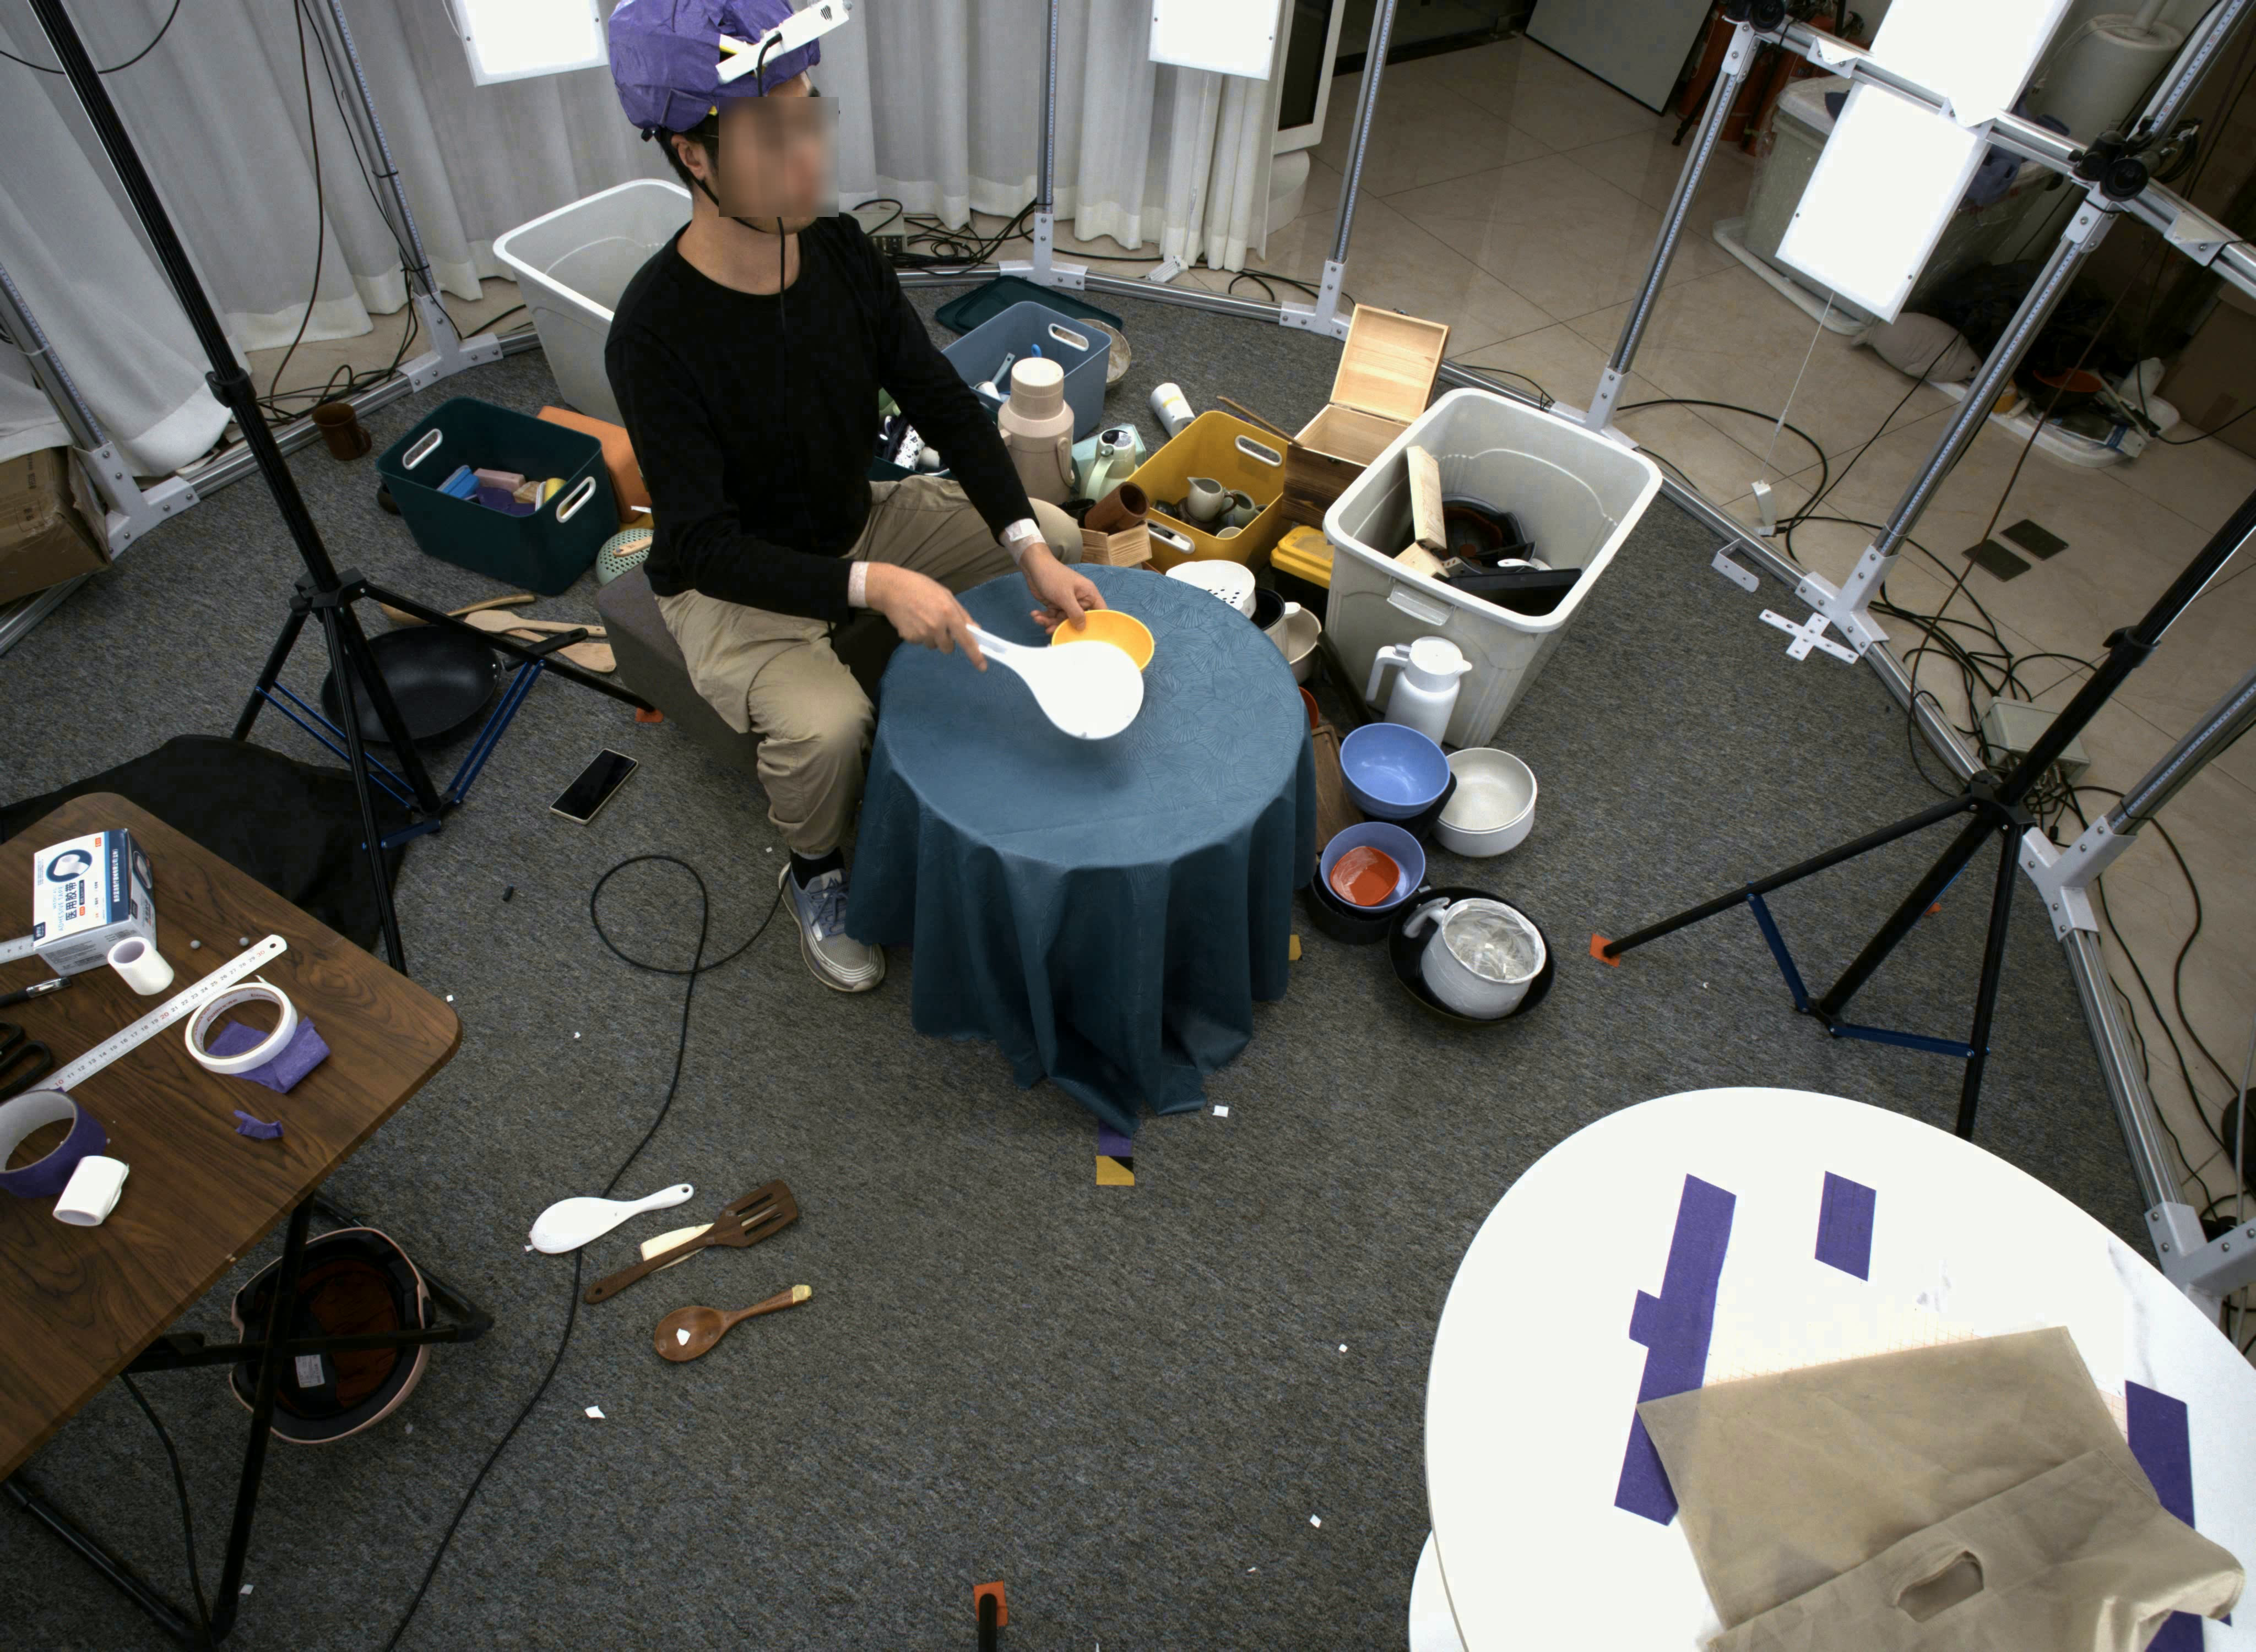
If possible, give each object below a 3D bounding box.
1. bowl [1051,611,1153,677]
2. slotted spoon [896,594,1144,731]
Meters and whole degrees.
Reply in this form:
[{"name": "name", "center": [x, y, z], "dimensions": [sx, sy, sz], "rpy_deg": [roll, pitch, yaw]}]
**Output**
[{"name": "bowl", "center": [-0.039, -0.239, 1.838], "dimensions": [0.145, 0.058, 0.149], "rpy_deg": [2, 49, -3]}, {"name": "slotted spoon", "center": [-0.145, -0.230, 1.716], "dimensions": [0.349, 0.045, 0.138], "rpy_deg": [24, 70, -1]}]
